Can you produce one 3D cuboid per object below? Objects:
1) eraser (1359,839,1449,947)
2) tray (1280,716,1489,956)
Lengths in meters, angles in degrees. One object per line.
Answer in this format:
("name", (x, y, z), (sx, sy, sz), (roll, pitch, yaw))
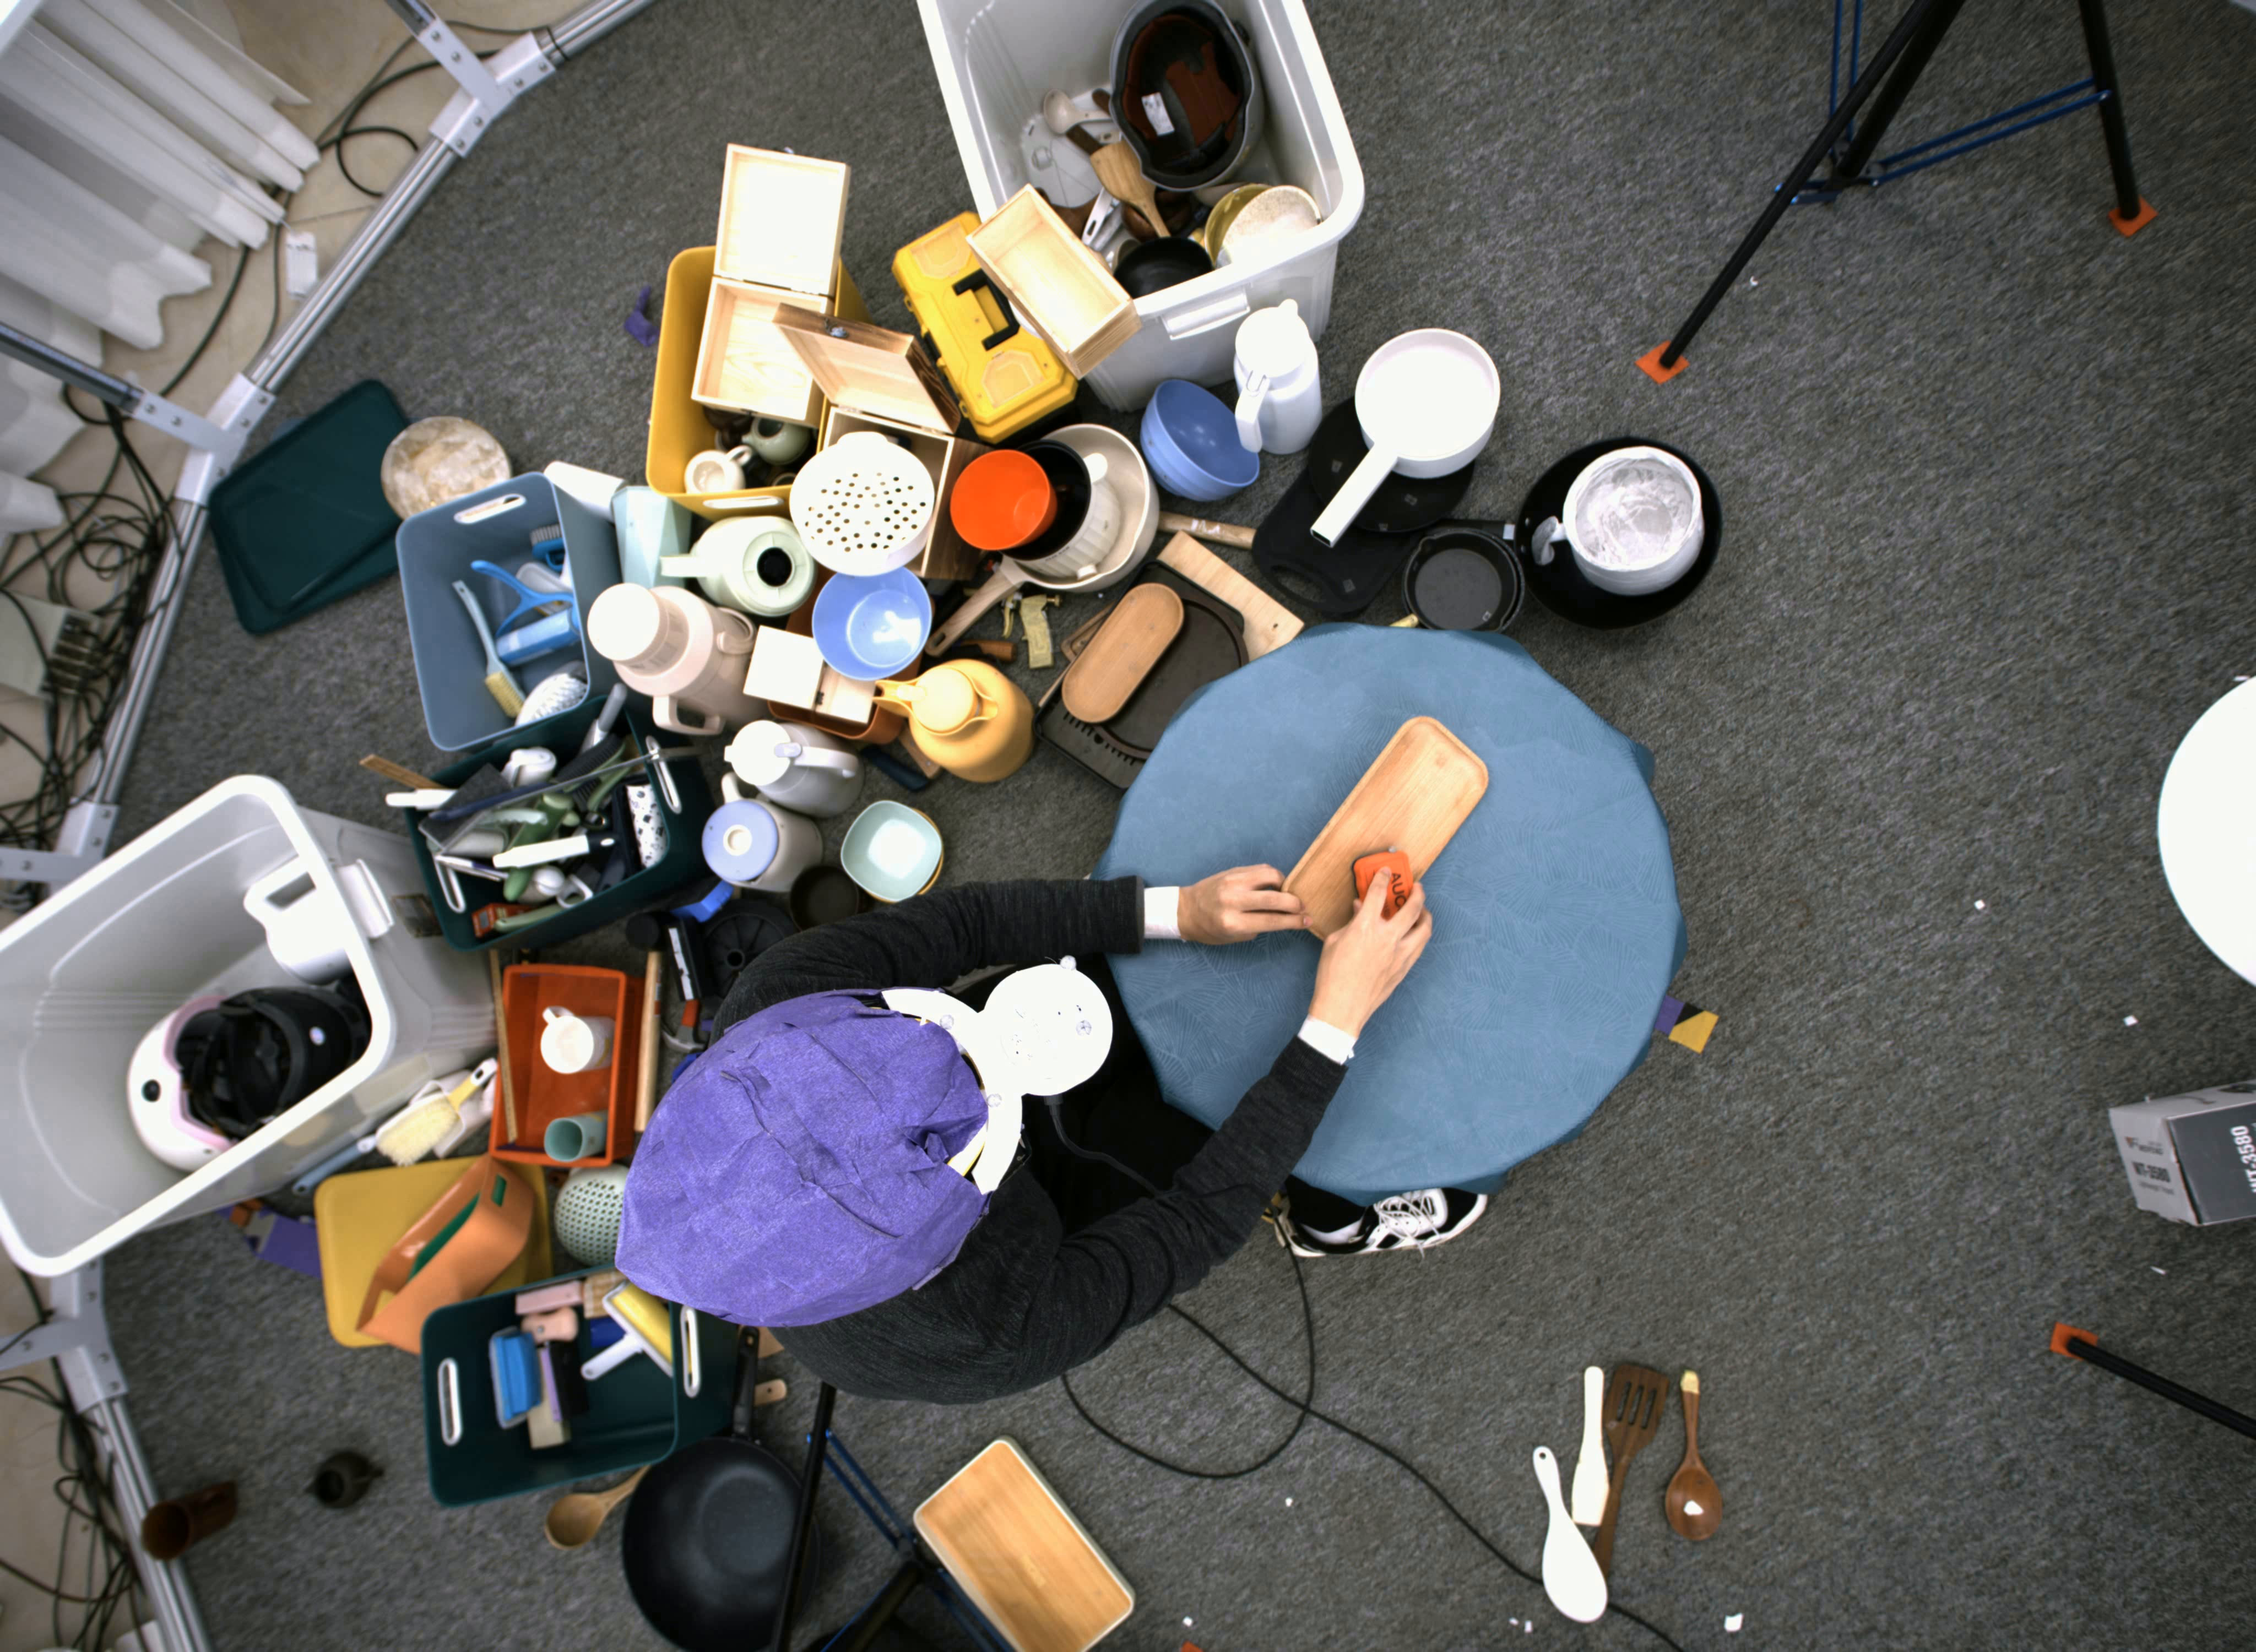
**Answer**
("eraser", (0.286, 0.068, 1.431), (0.059, 0.022, 0.109), (-35, 111, -5))
("tray", (0.265, 0.010, 1.423), (0.131, 0.022, 0.251), (37, 94, -23))
